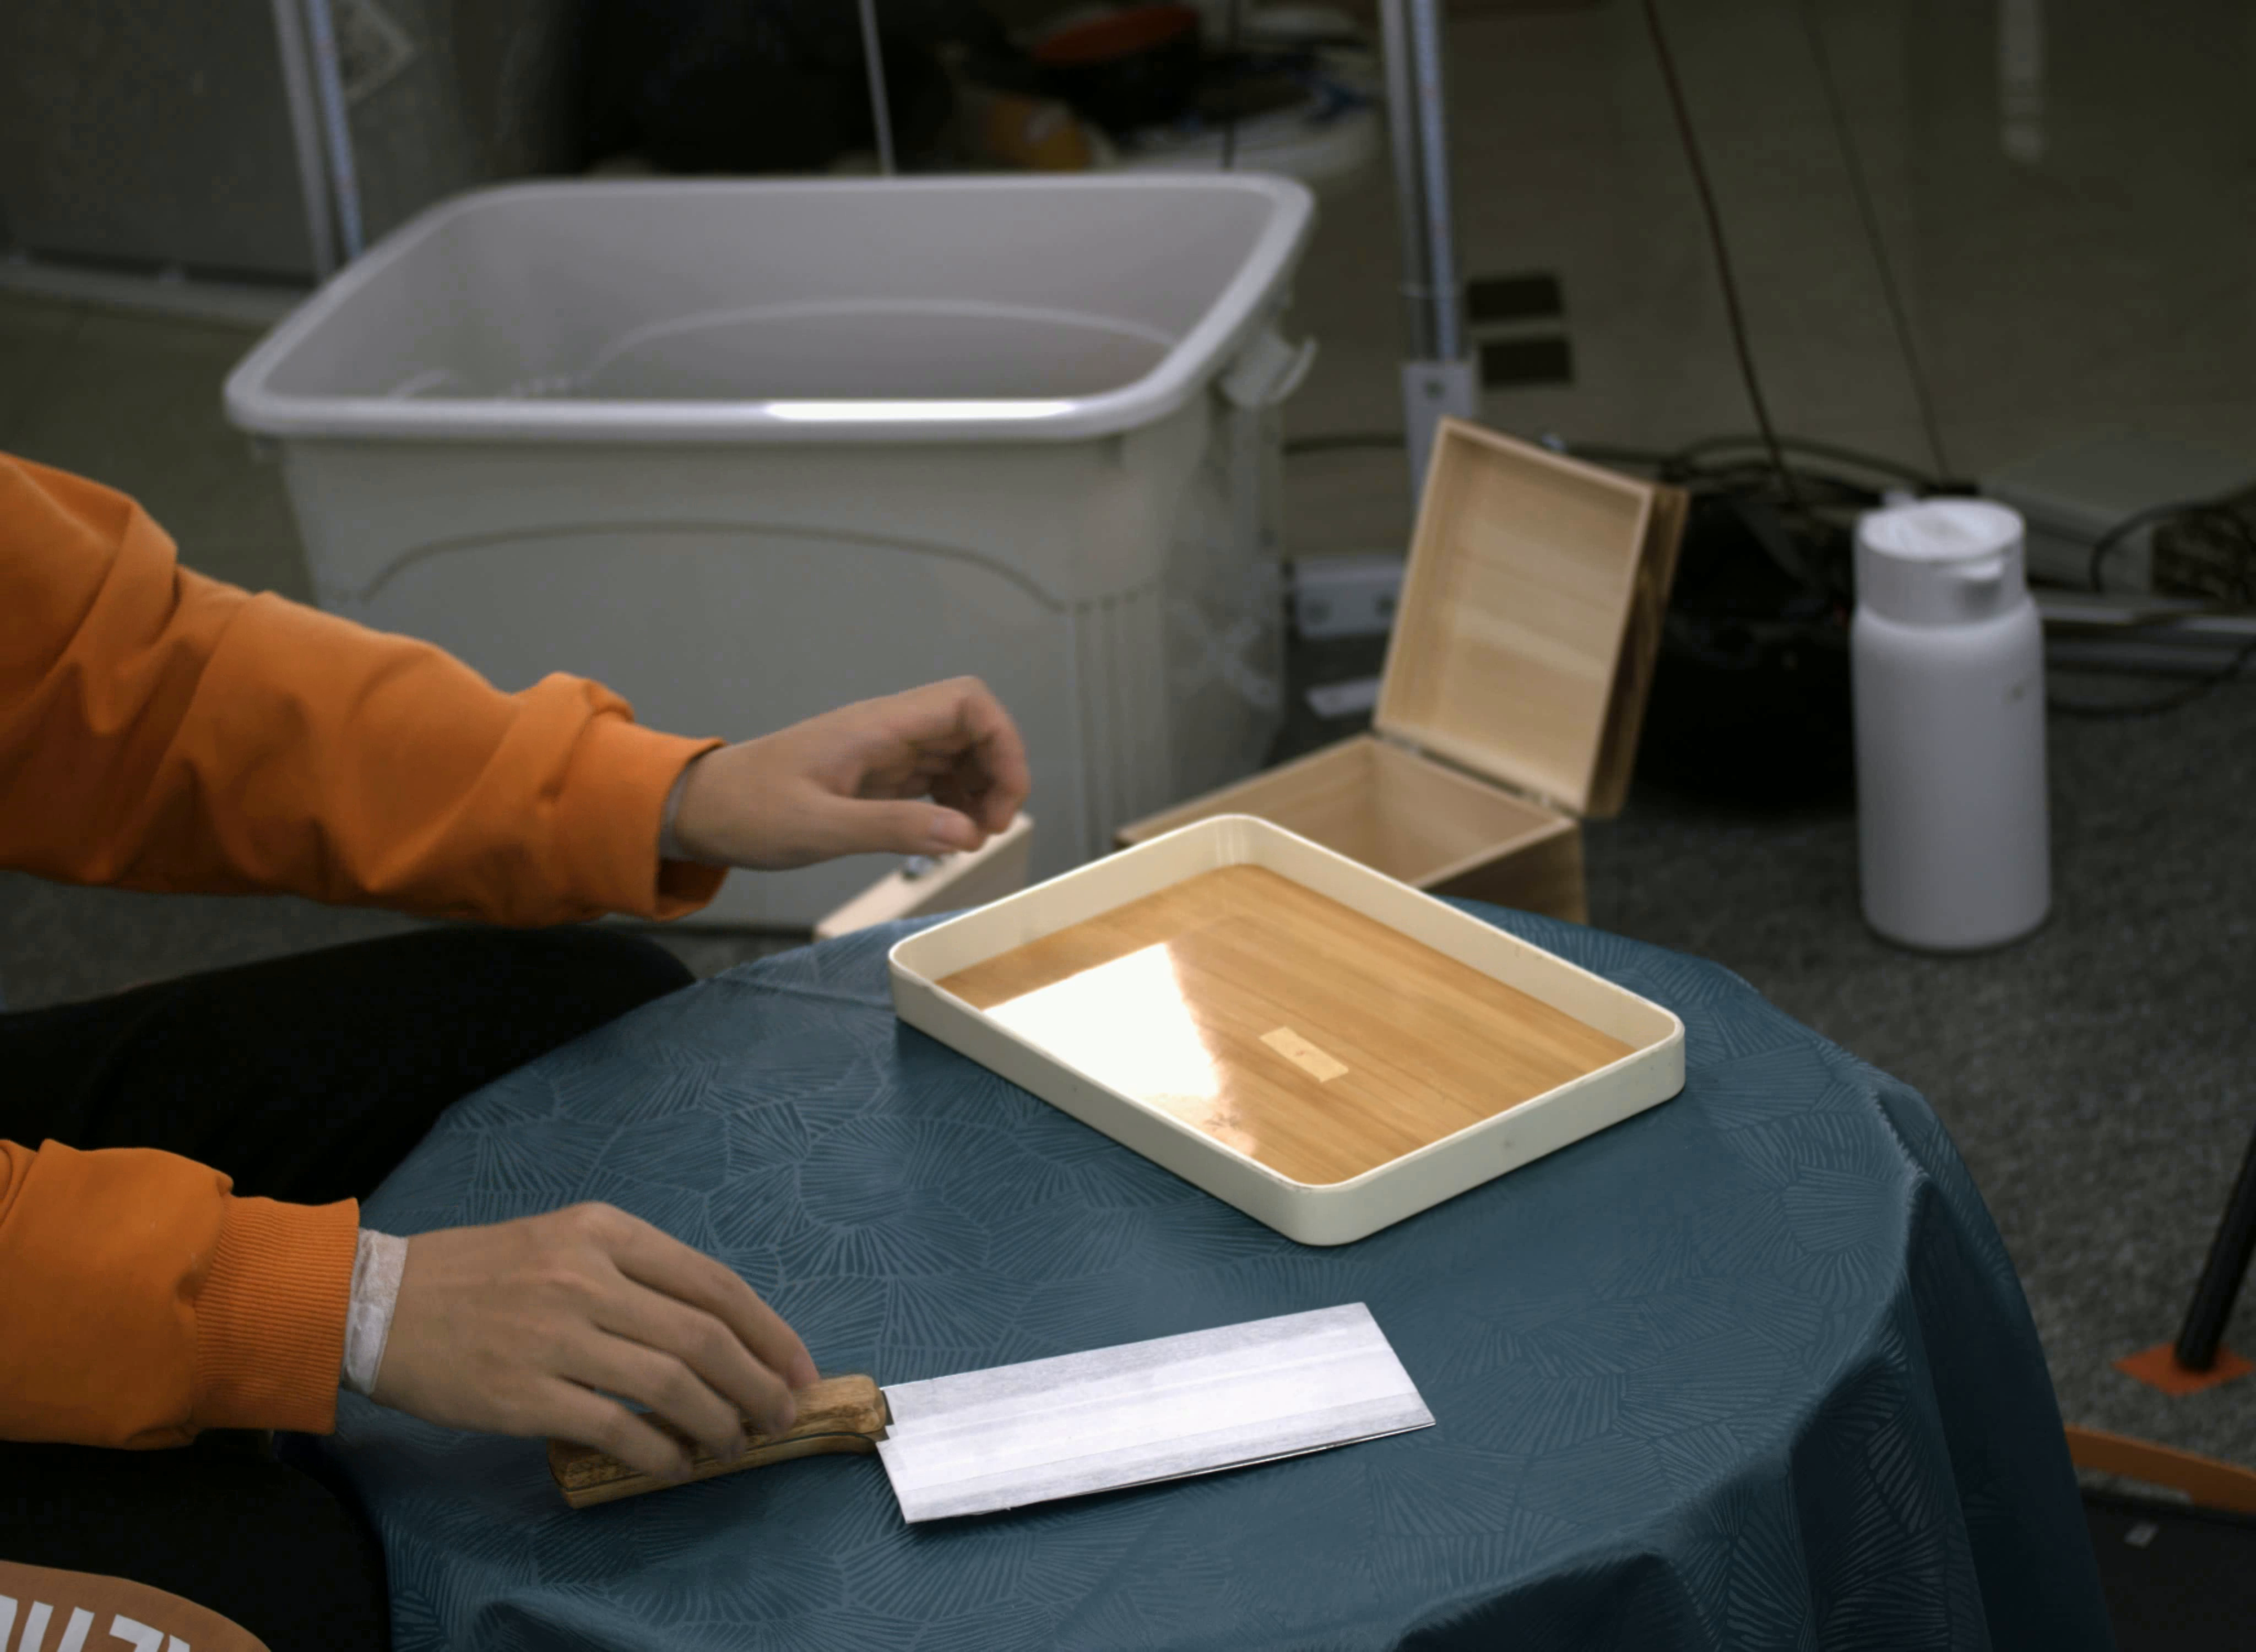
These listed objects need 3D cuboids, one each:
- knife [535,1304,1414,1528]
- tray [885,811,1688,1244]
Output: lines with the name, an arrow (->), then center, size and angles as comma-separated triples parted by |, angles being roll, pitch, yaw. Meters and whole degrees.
knife -> -0.051, 0.213, 1.983 | 0.305, 0.021, 0.091 | -9, 27, -11
tray -> 0.059, 0.075, 2.236 | 0.190, 0.028, 0.297 | -22, 29, -30
